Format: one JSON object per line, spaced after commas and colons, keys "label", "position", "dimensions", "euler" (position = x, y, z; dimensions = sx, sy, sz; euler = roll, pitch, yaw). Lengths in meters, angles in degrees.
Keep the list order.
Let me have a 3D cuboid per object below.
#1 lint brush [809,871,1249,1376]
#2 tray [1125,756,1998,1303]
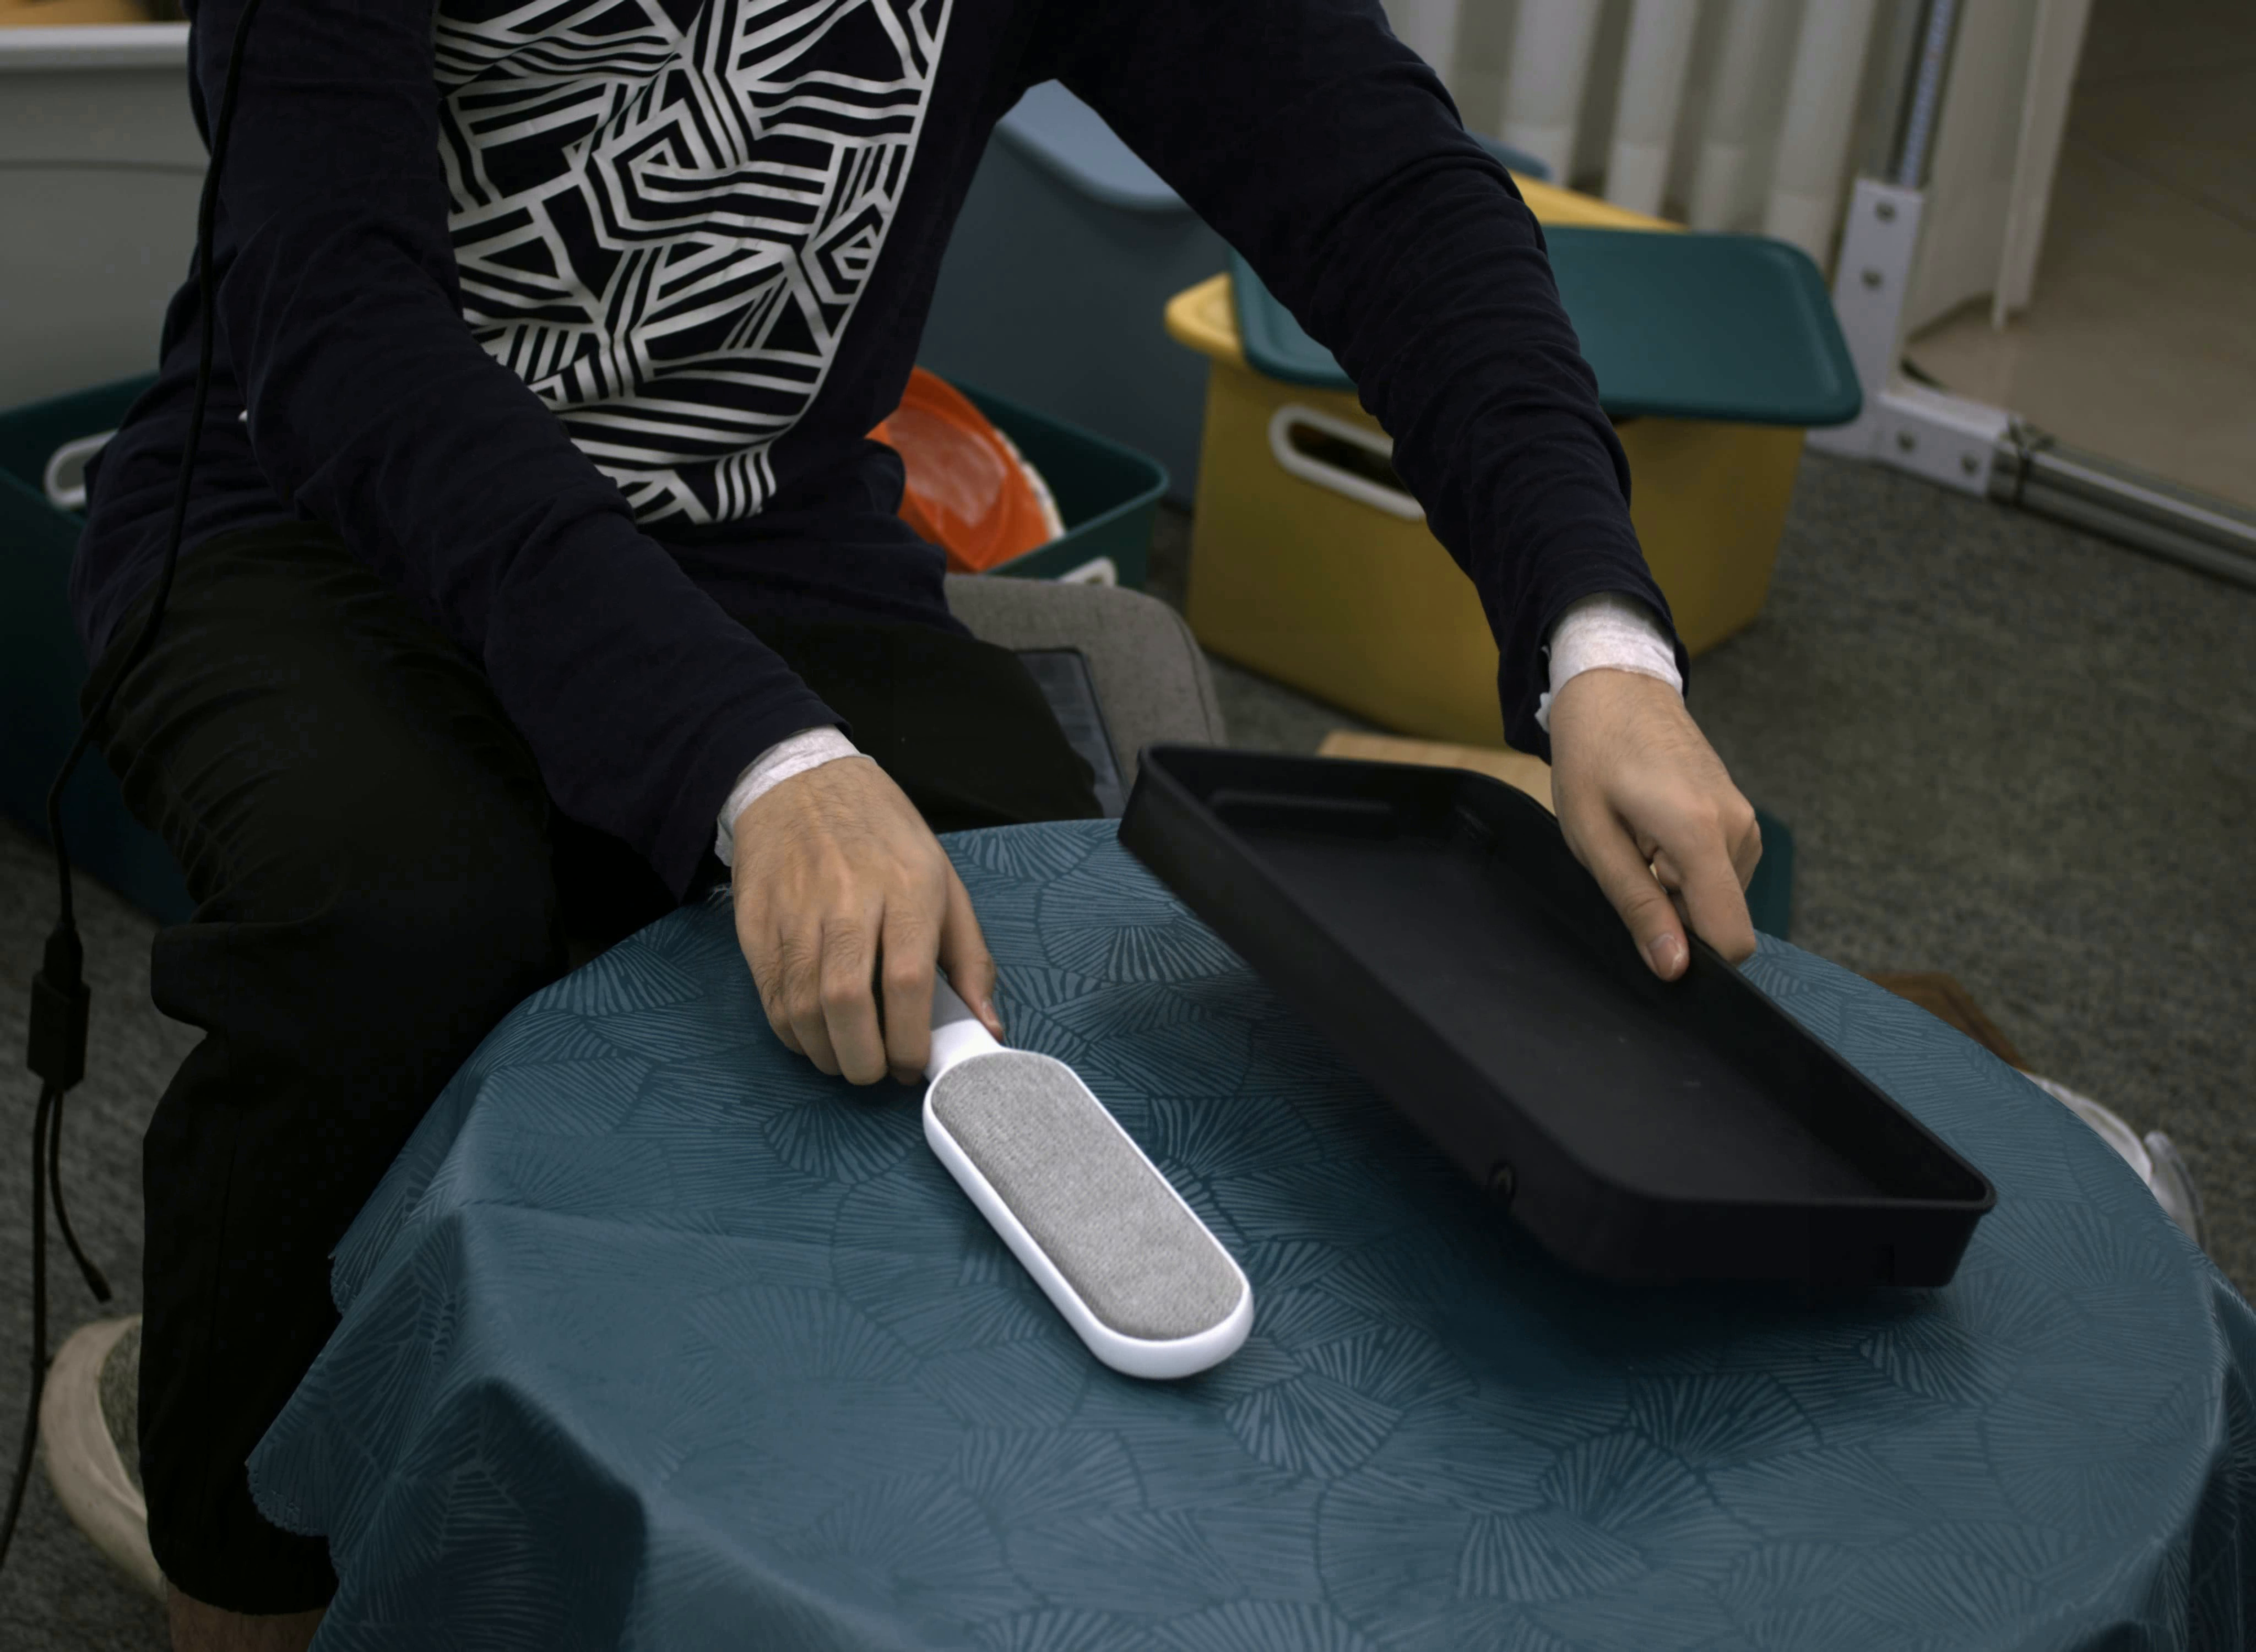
{"label": "lint brush", "position": [-0.041, 0.095, 1.811], "dimensions": [0.060, 0.021, 0.312], "euler": [-20, 36, -17]}
{"label": "tray", "position": [0.143, 0.067, 1.846], "dimensions": [0.183, 0.037, 0.321], "euler": [4, 25, -34]}
